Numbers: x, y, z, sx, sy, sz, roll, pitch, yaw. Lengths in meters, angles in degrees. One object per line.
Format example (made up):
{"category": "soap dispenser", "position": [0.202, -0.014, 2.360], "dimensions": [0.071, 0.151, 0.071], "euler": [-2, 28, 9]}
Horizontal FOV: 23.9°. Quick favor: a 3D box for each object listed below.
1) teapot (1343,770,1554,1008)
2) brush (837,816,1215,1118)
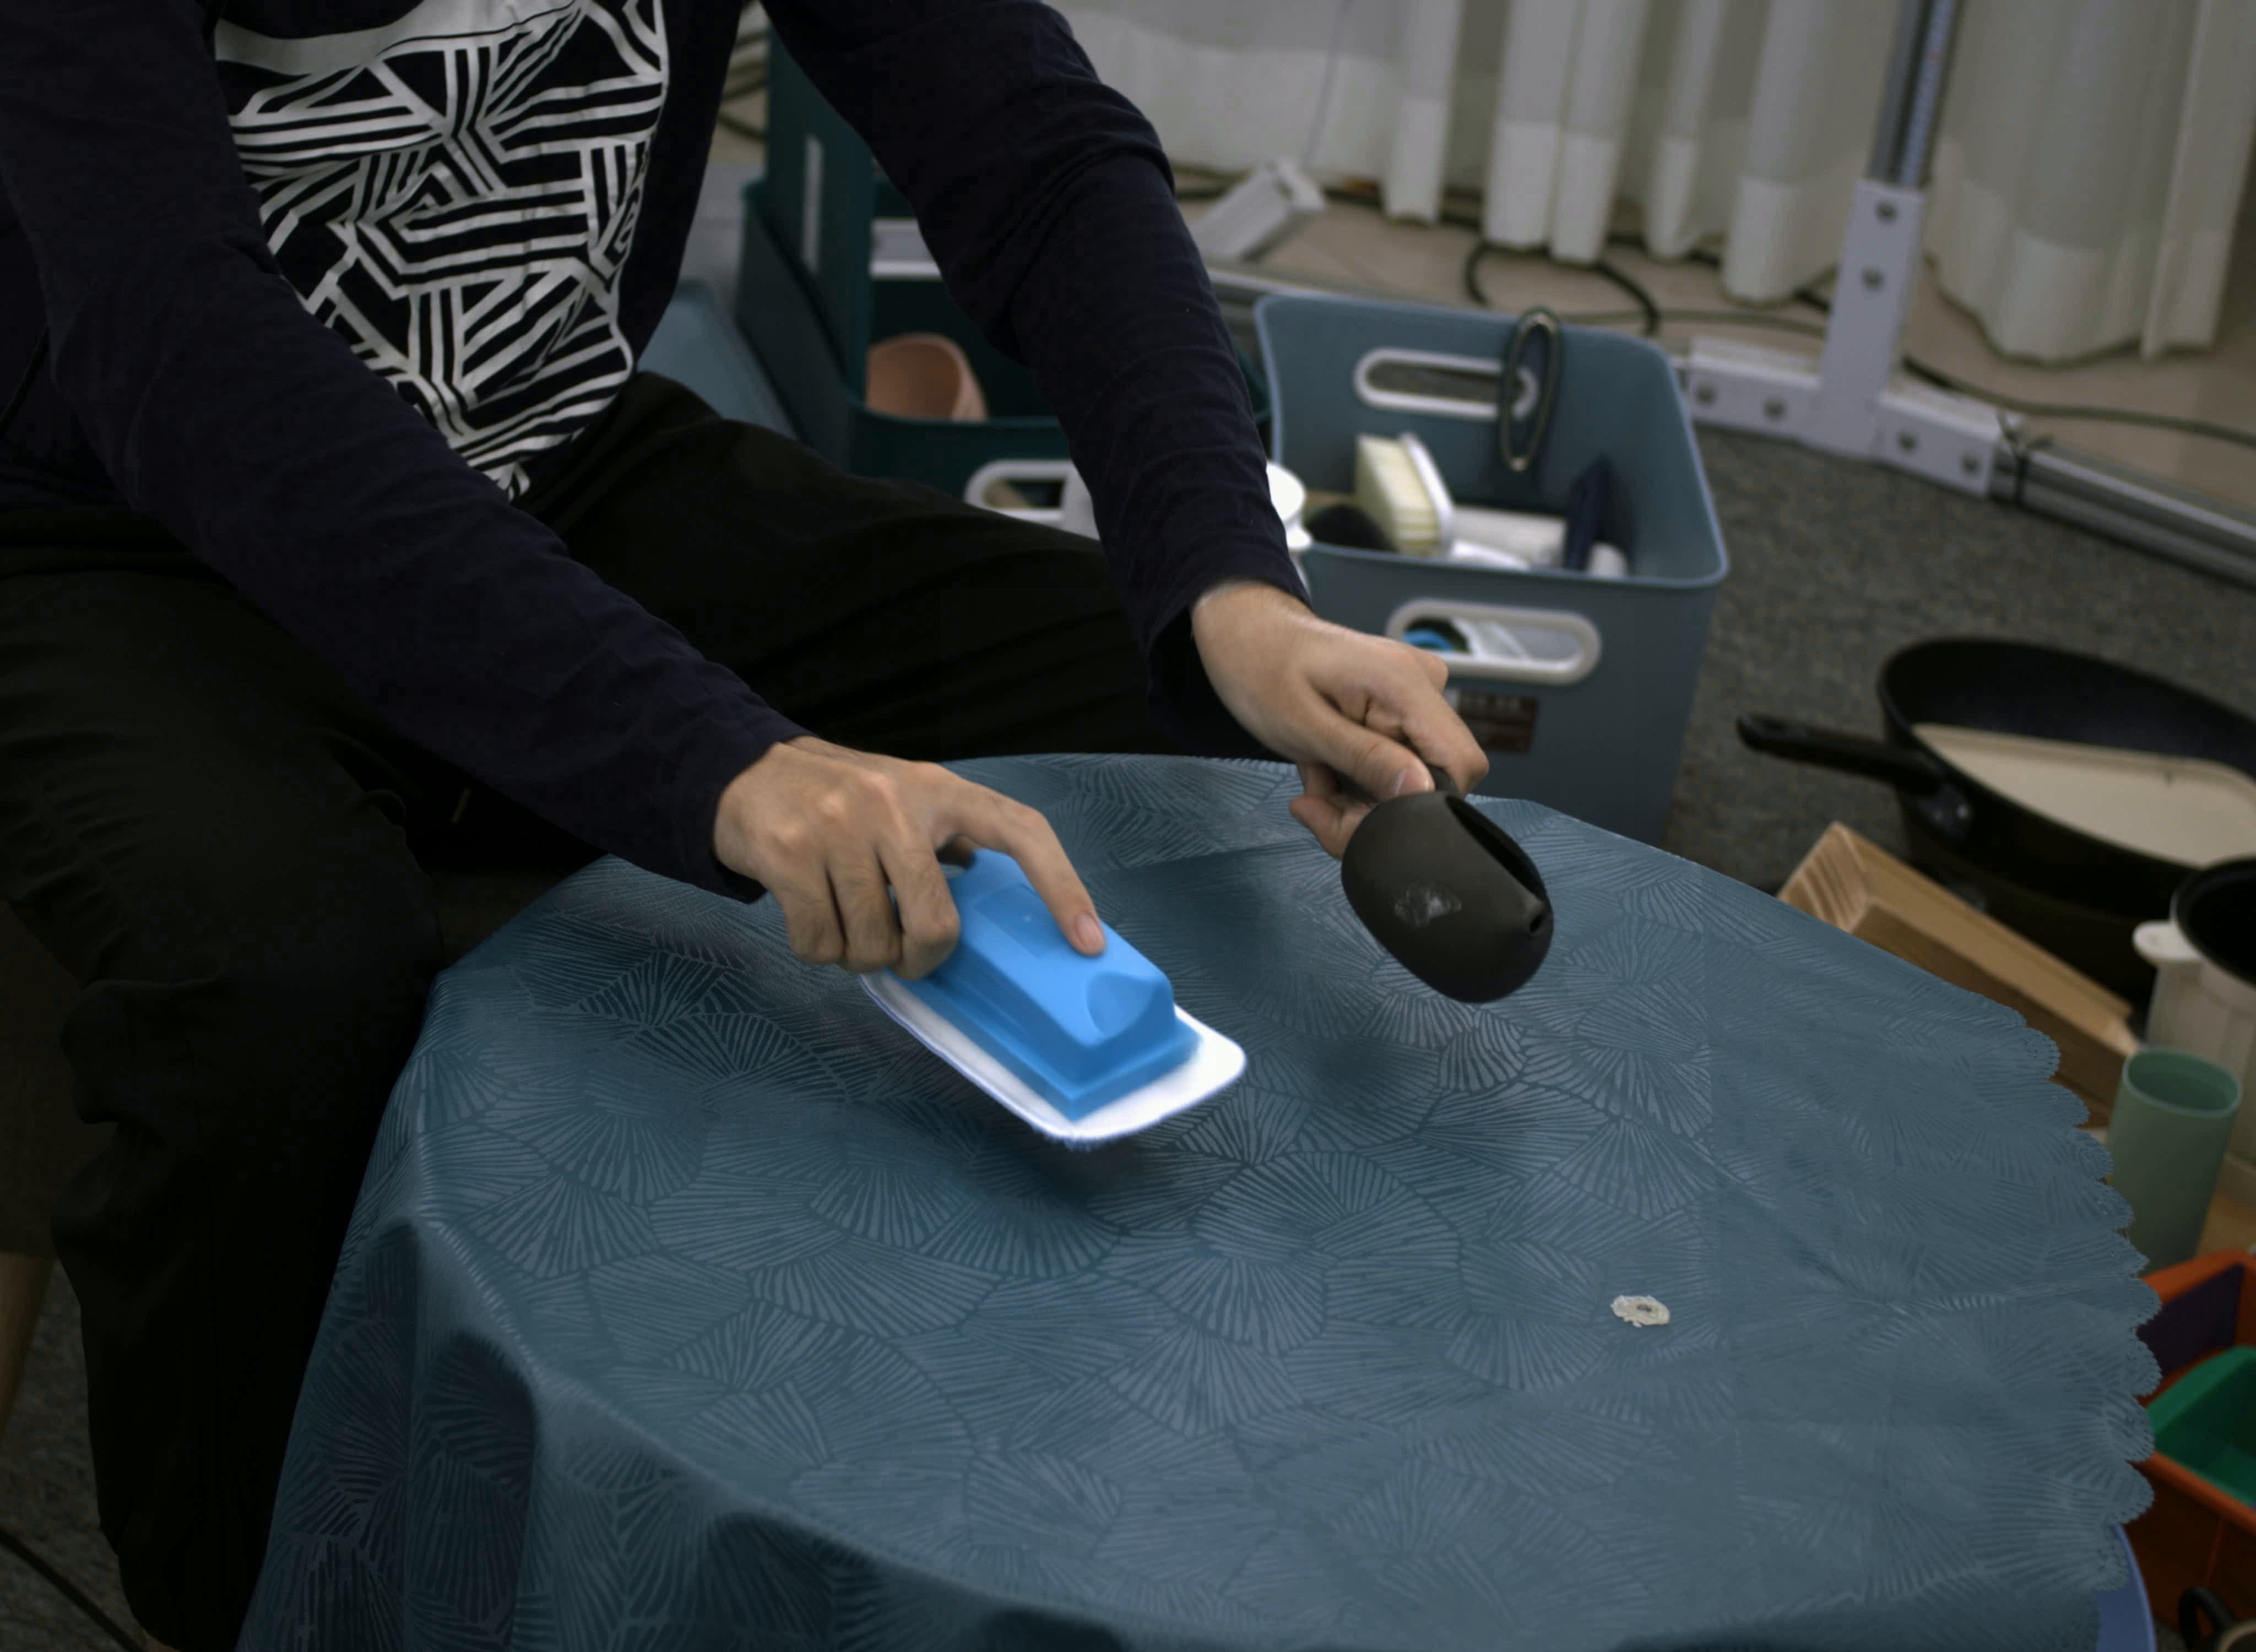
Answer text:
{"category": "teapot", "position": [0.112, 0.018, 1.897], "dimensions": [0.082, 0.053, 0.115], "euler": [40, 16, -33]}
{"category": "brush", "position": [-0.035, 0.043, 1.827], "dimensions": [0.083, 0.055, 0.145], "euler": [-20, 40, -27]}
